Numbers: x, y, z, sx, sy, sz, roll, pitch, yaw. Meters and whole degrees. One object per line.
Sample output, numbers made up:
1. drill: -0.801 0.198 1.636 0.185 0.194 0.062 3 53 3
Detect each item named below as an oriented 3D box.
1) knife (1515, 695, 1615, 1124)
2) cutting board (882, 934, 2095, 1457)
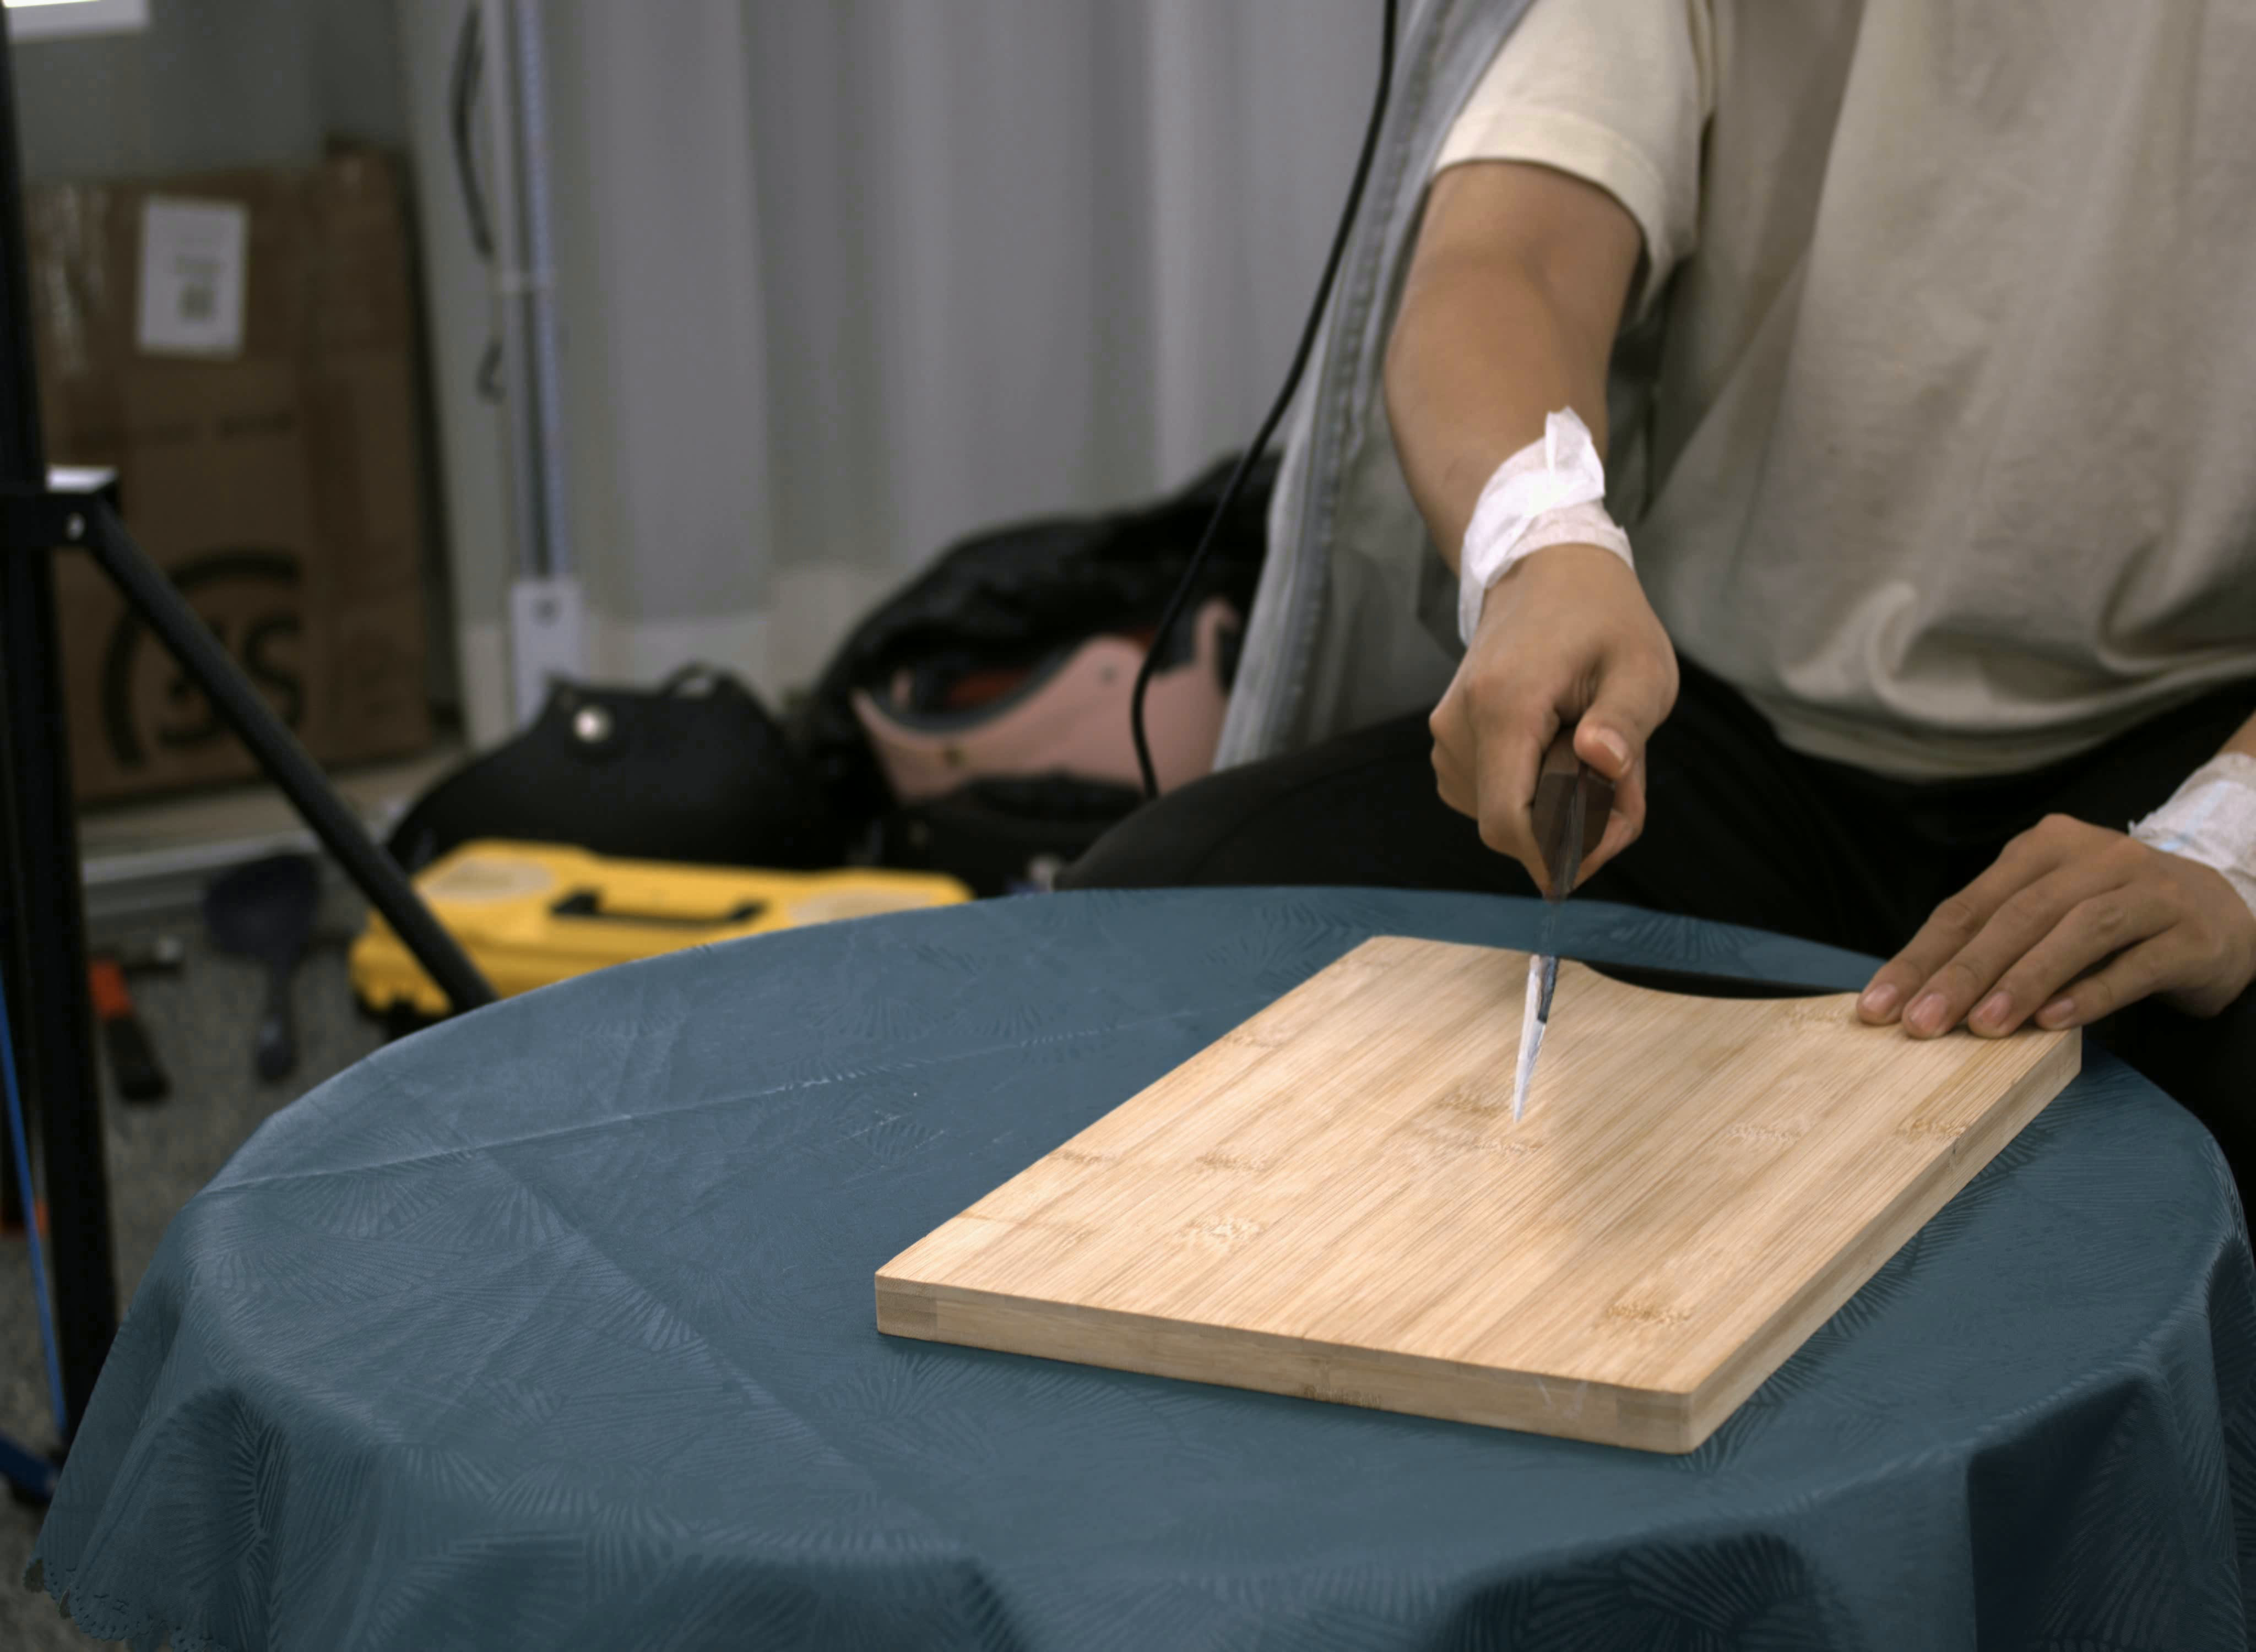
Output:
1. knife: 0.127 0.022 1.587 0.024 0.068 0.299 15 16 2
2. cutting board: 0.115 0.098 1.542 0.254 0.023 0.343 6 17 26
